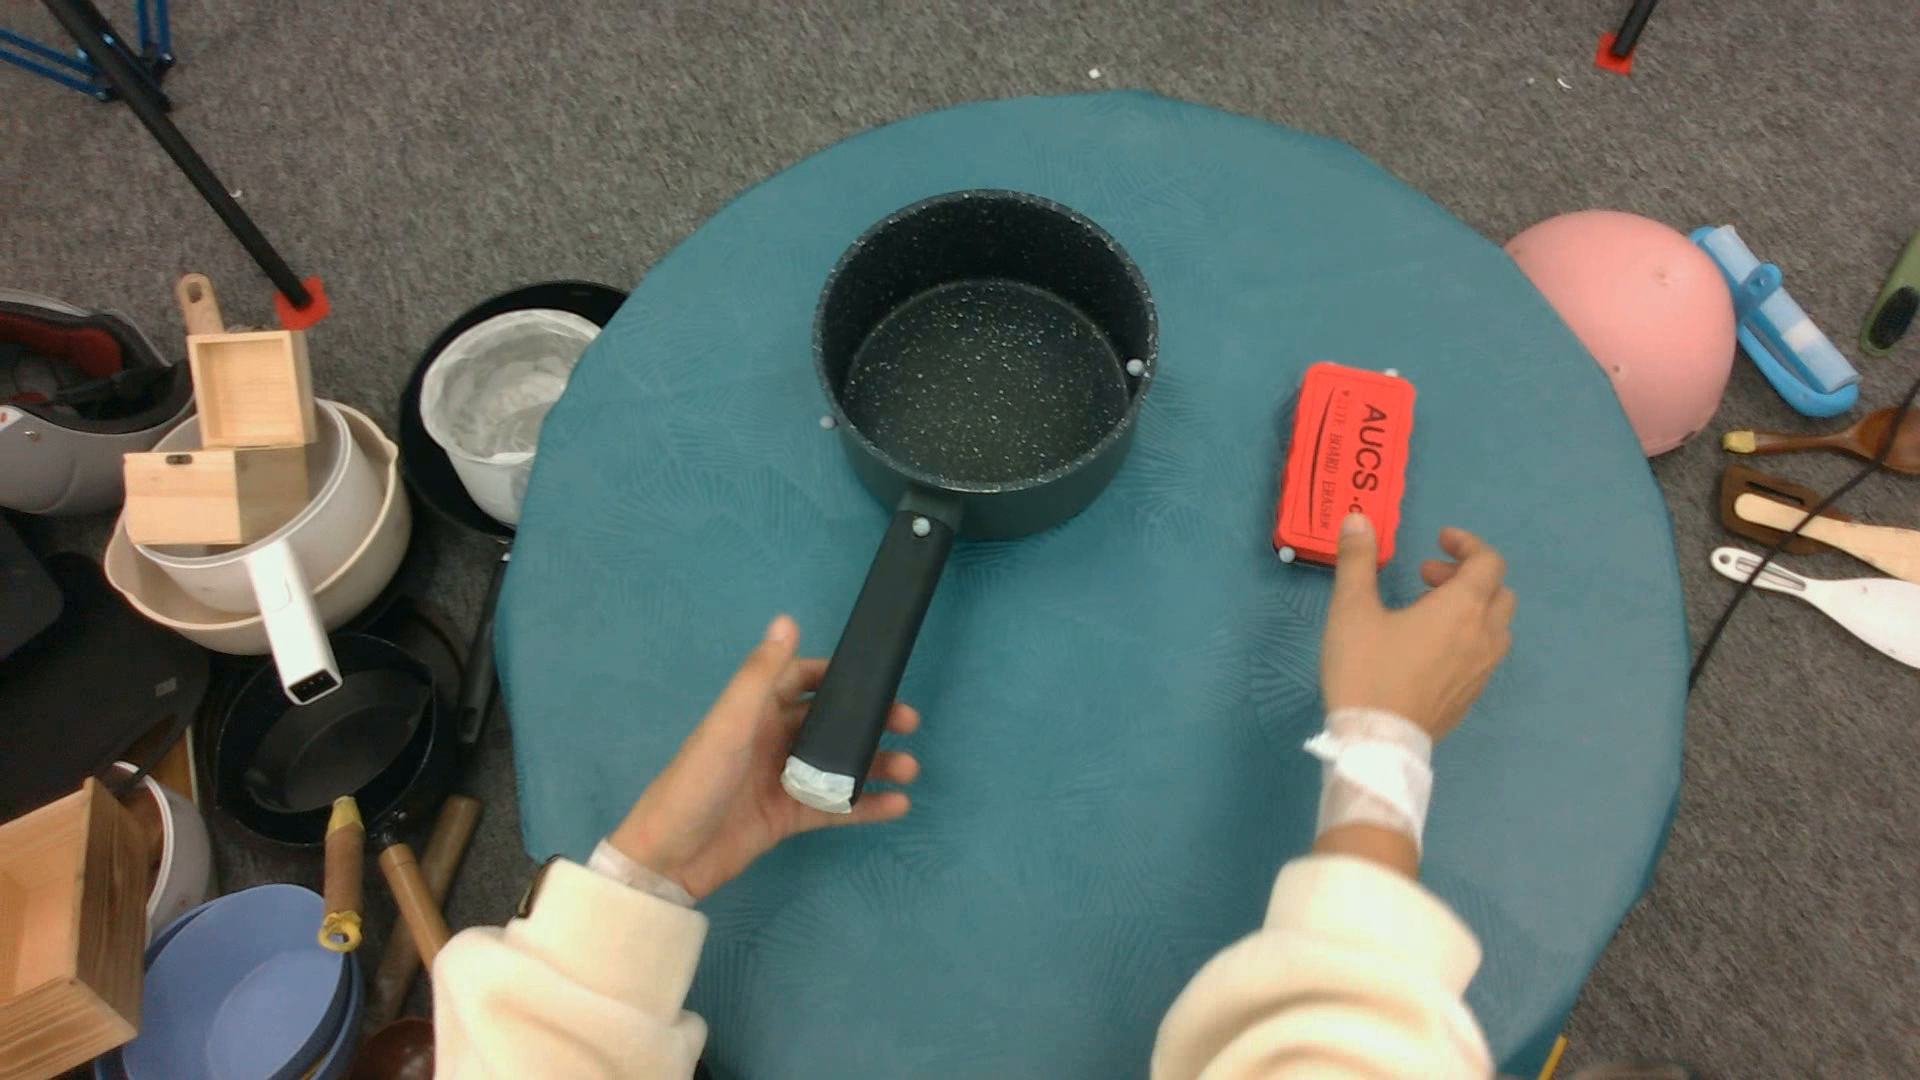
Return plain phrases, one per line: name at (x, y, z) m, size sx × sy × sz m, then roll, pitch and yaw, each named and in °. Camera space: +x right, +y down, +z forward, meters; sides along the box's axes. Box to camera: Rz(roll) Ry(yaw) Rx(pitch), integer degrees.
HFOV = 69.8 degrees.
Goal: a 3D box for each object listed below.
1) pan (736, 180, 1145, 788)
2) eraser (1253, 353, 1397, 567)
pan at (-0.022, -0.026, 0.677) m, size 0.172 × 0.086 × 0.330 m, roll 18°, pitch 66°, yaw 9°
eraser at (0.190, -0.042, 0.716) m, size 0.059 × 0.023 × 0.108 m, roll 14°, pitch 67°, yaw 5°
